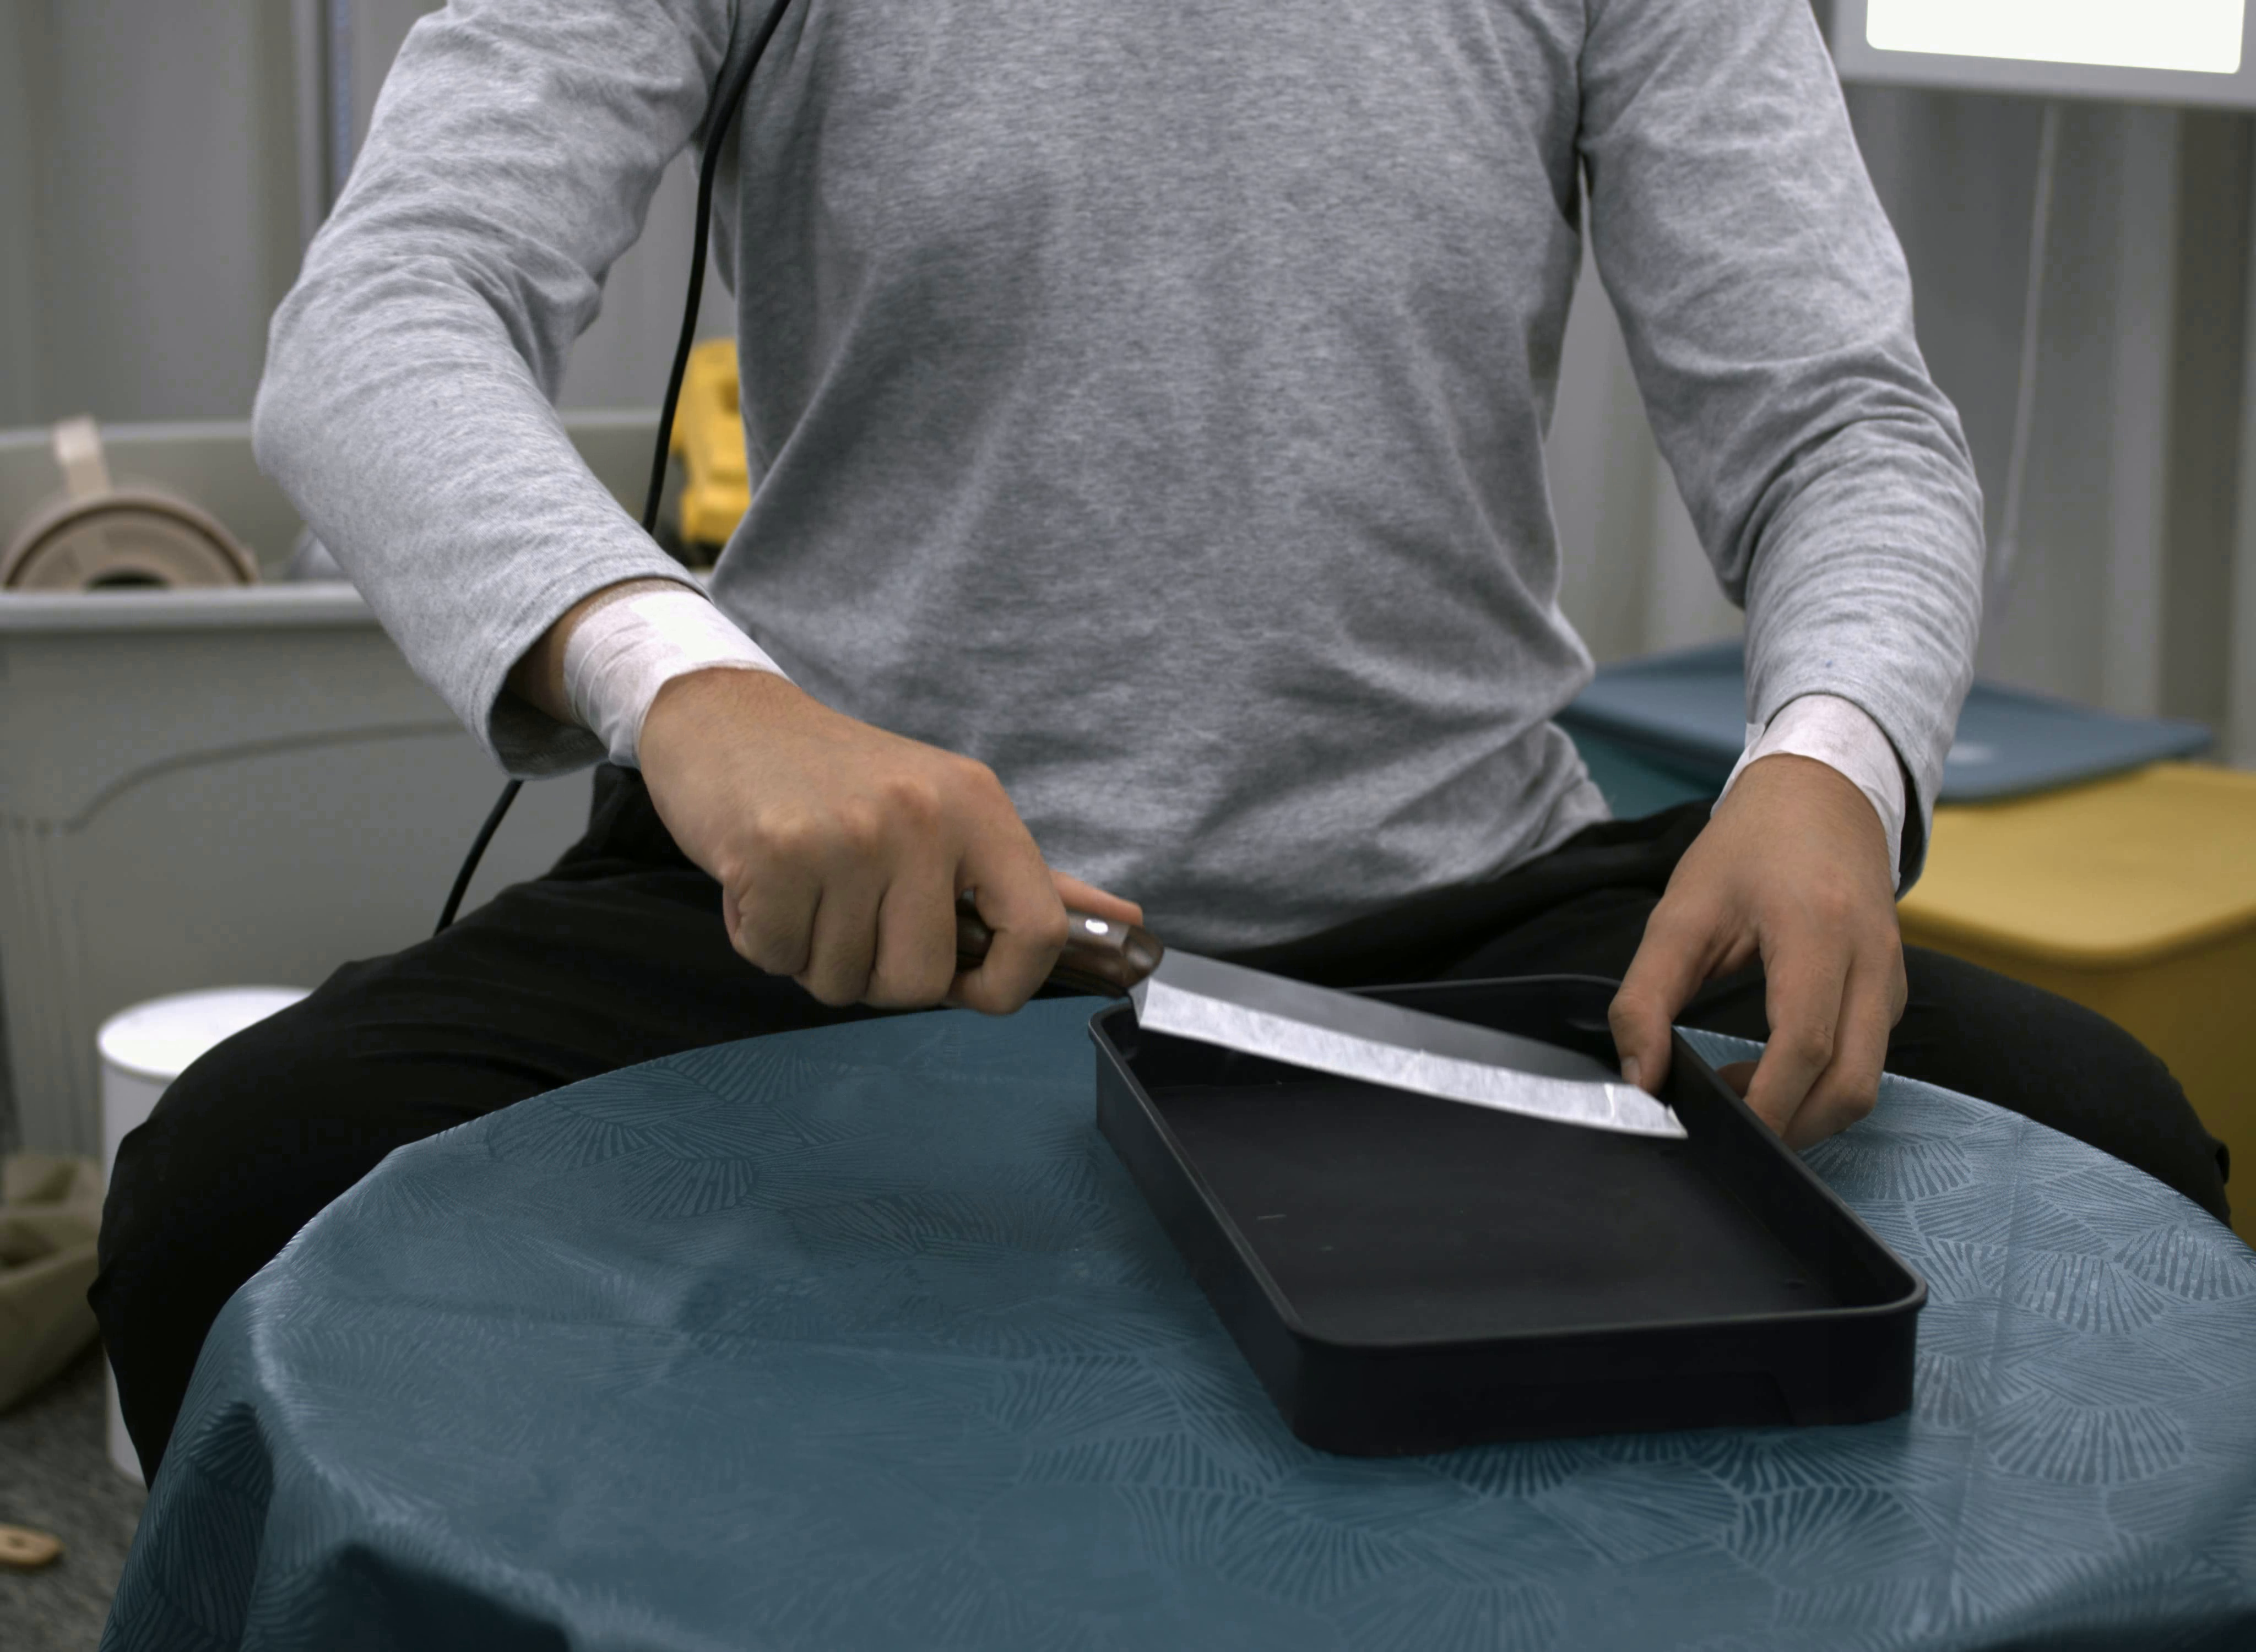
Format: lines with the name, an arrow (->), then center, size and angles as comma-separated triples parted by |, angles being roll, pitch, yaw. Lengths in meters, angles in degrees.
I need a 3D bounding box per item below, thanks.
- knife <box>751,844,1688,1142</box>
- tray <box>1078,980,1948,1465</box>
knife -> 0.027, 0.052, 1.554 | 0.288, 0.020, 0.050 | 16, 33, -1
tray -> 0.105, 0.111, 1.566 | 0.184, 0.037, 0.315 | -3, 15, -13
